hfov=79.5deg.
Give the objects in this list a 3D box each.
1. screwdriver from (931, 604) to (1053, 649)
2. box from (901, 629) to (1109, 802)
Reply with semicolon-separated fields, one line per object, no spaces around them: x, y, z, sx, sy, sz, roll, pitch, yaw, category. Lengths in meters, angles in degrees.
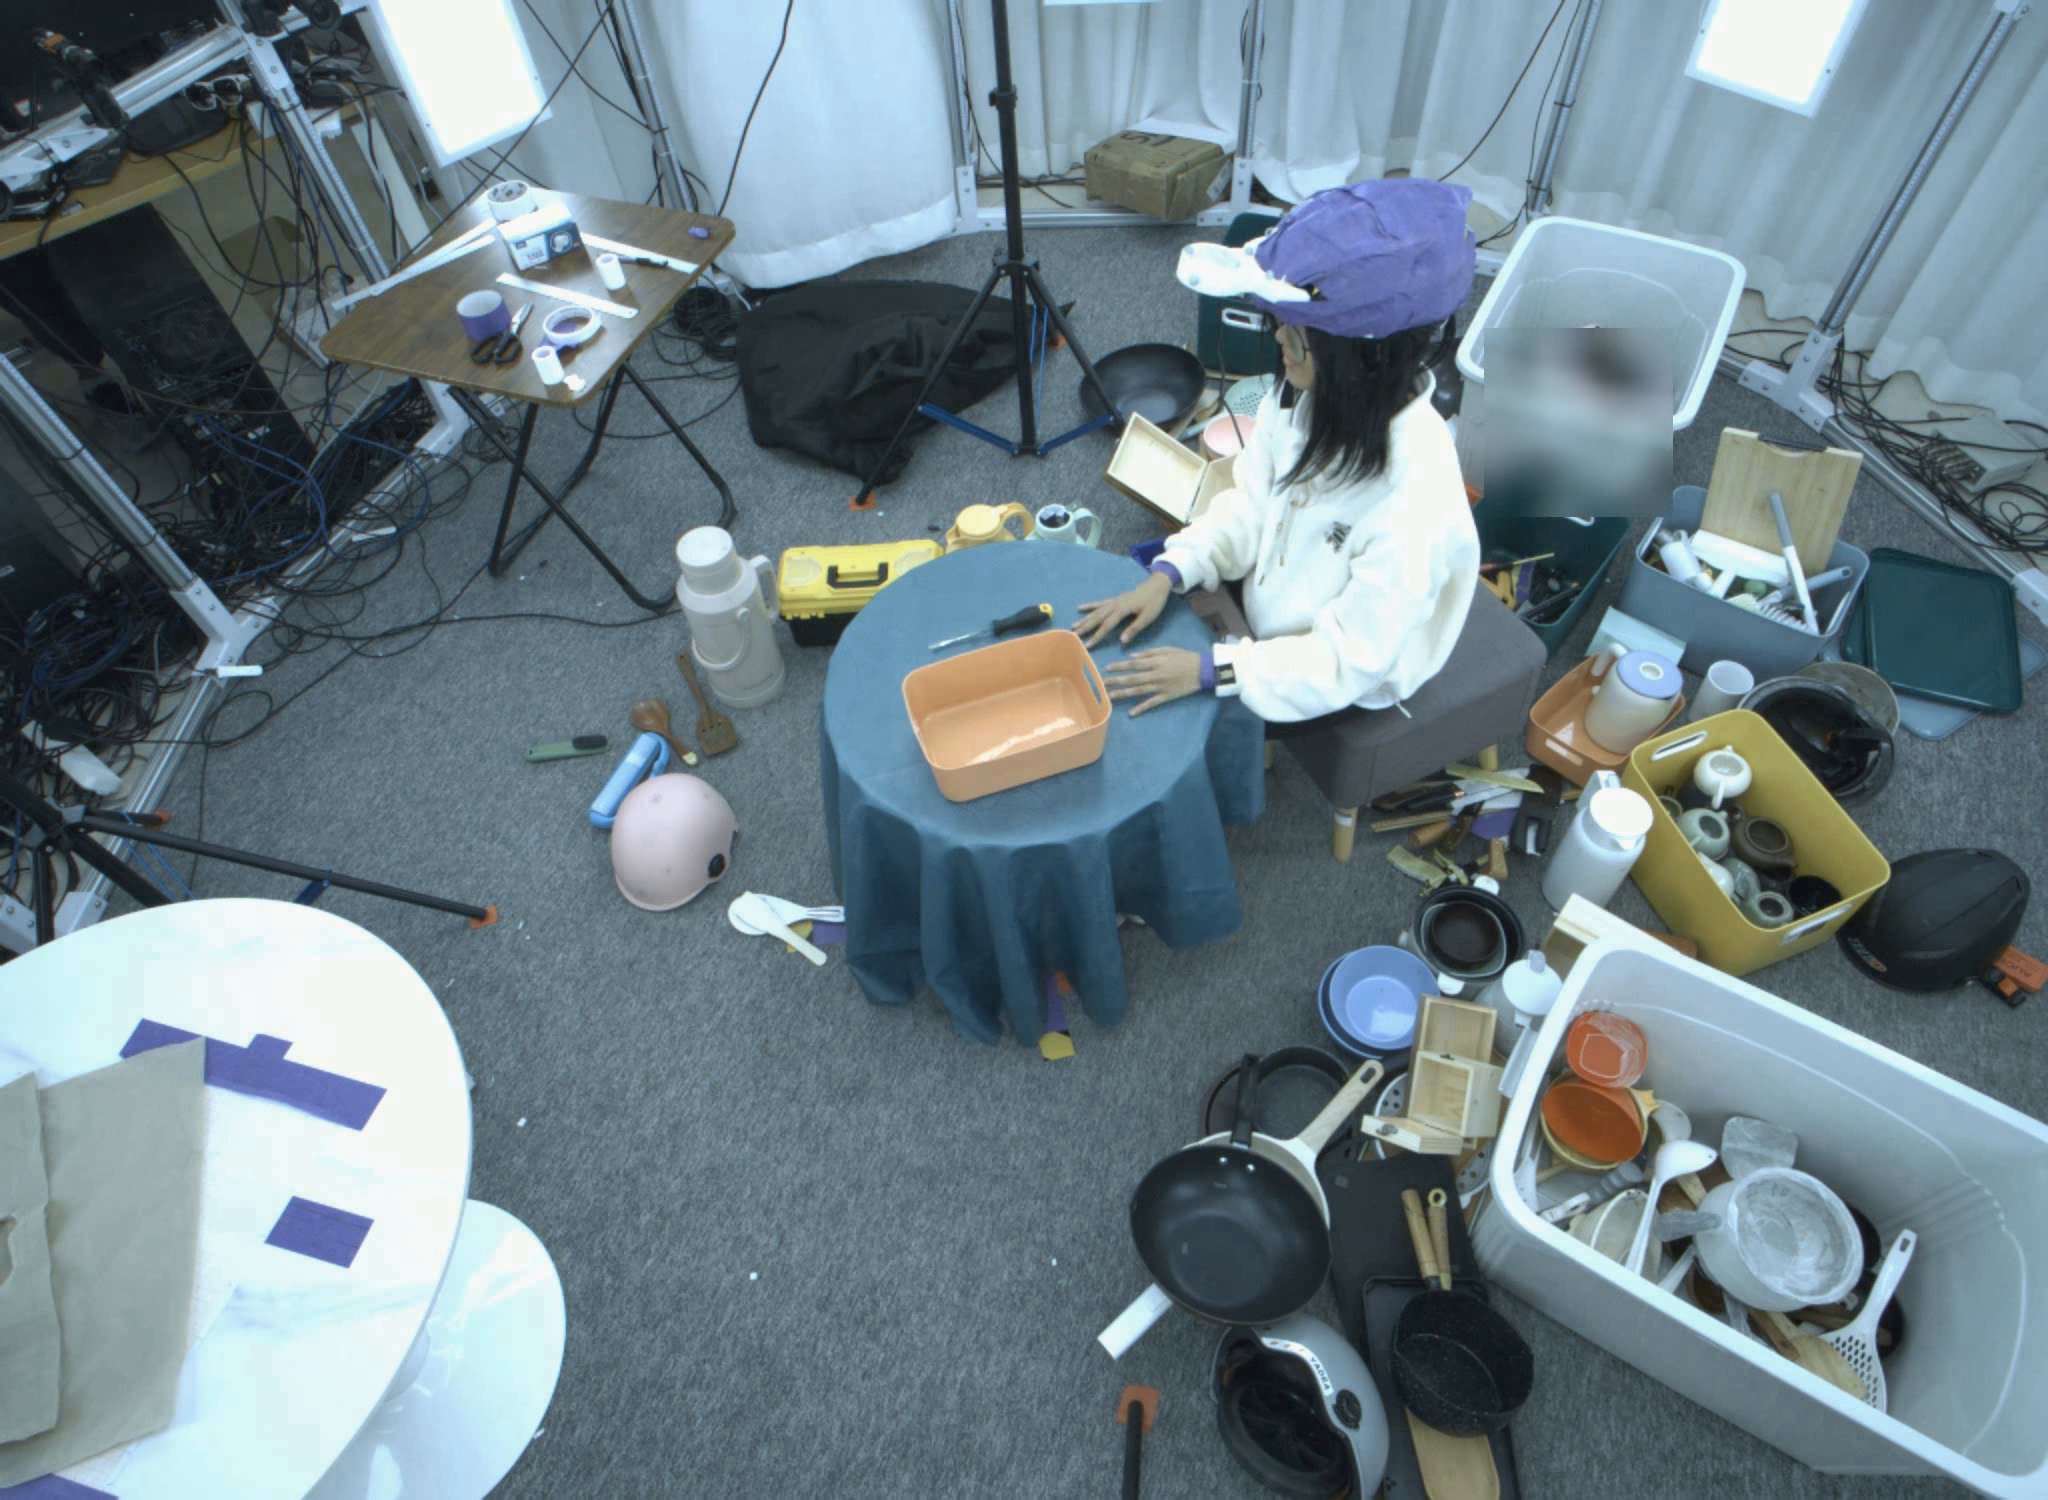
-0.051;-0.192;1.913;0.198;0.032;0.031;-15;56;-5;screwdriver
-0.024;-0.045;1.757;0.275;0.104;0.196;-17;55;-9;box
